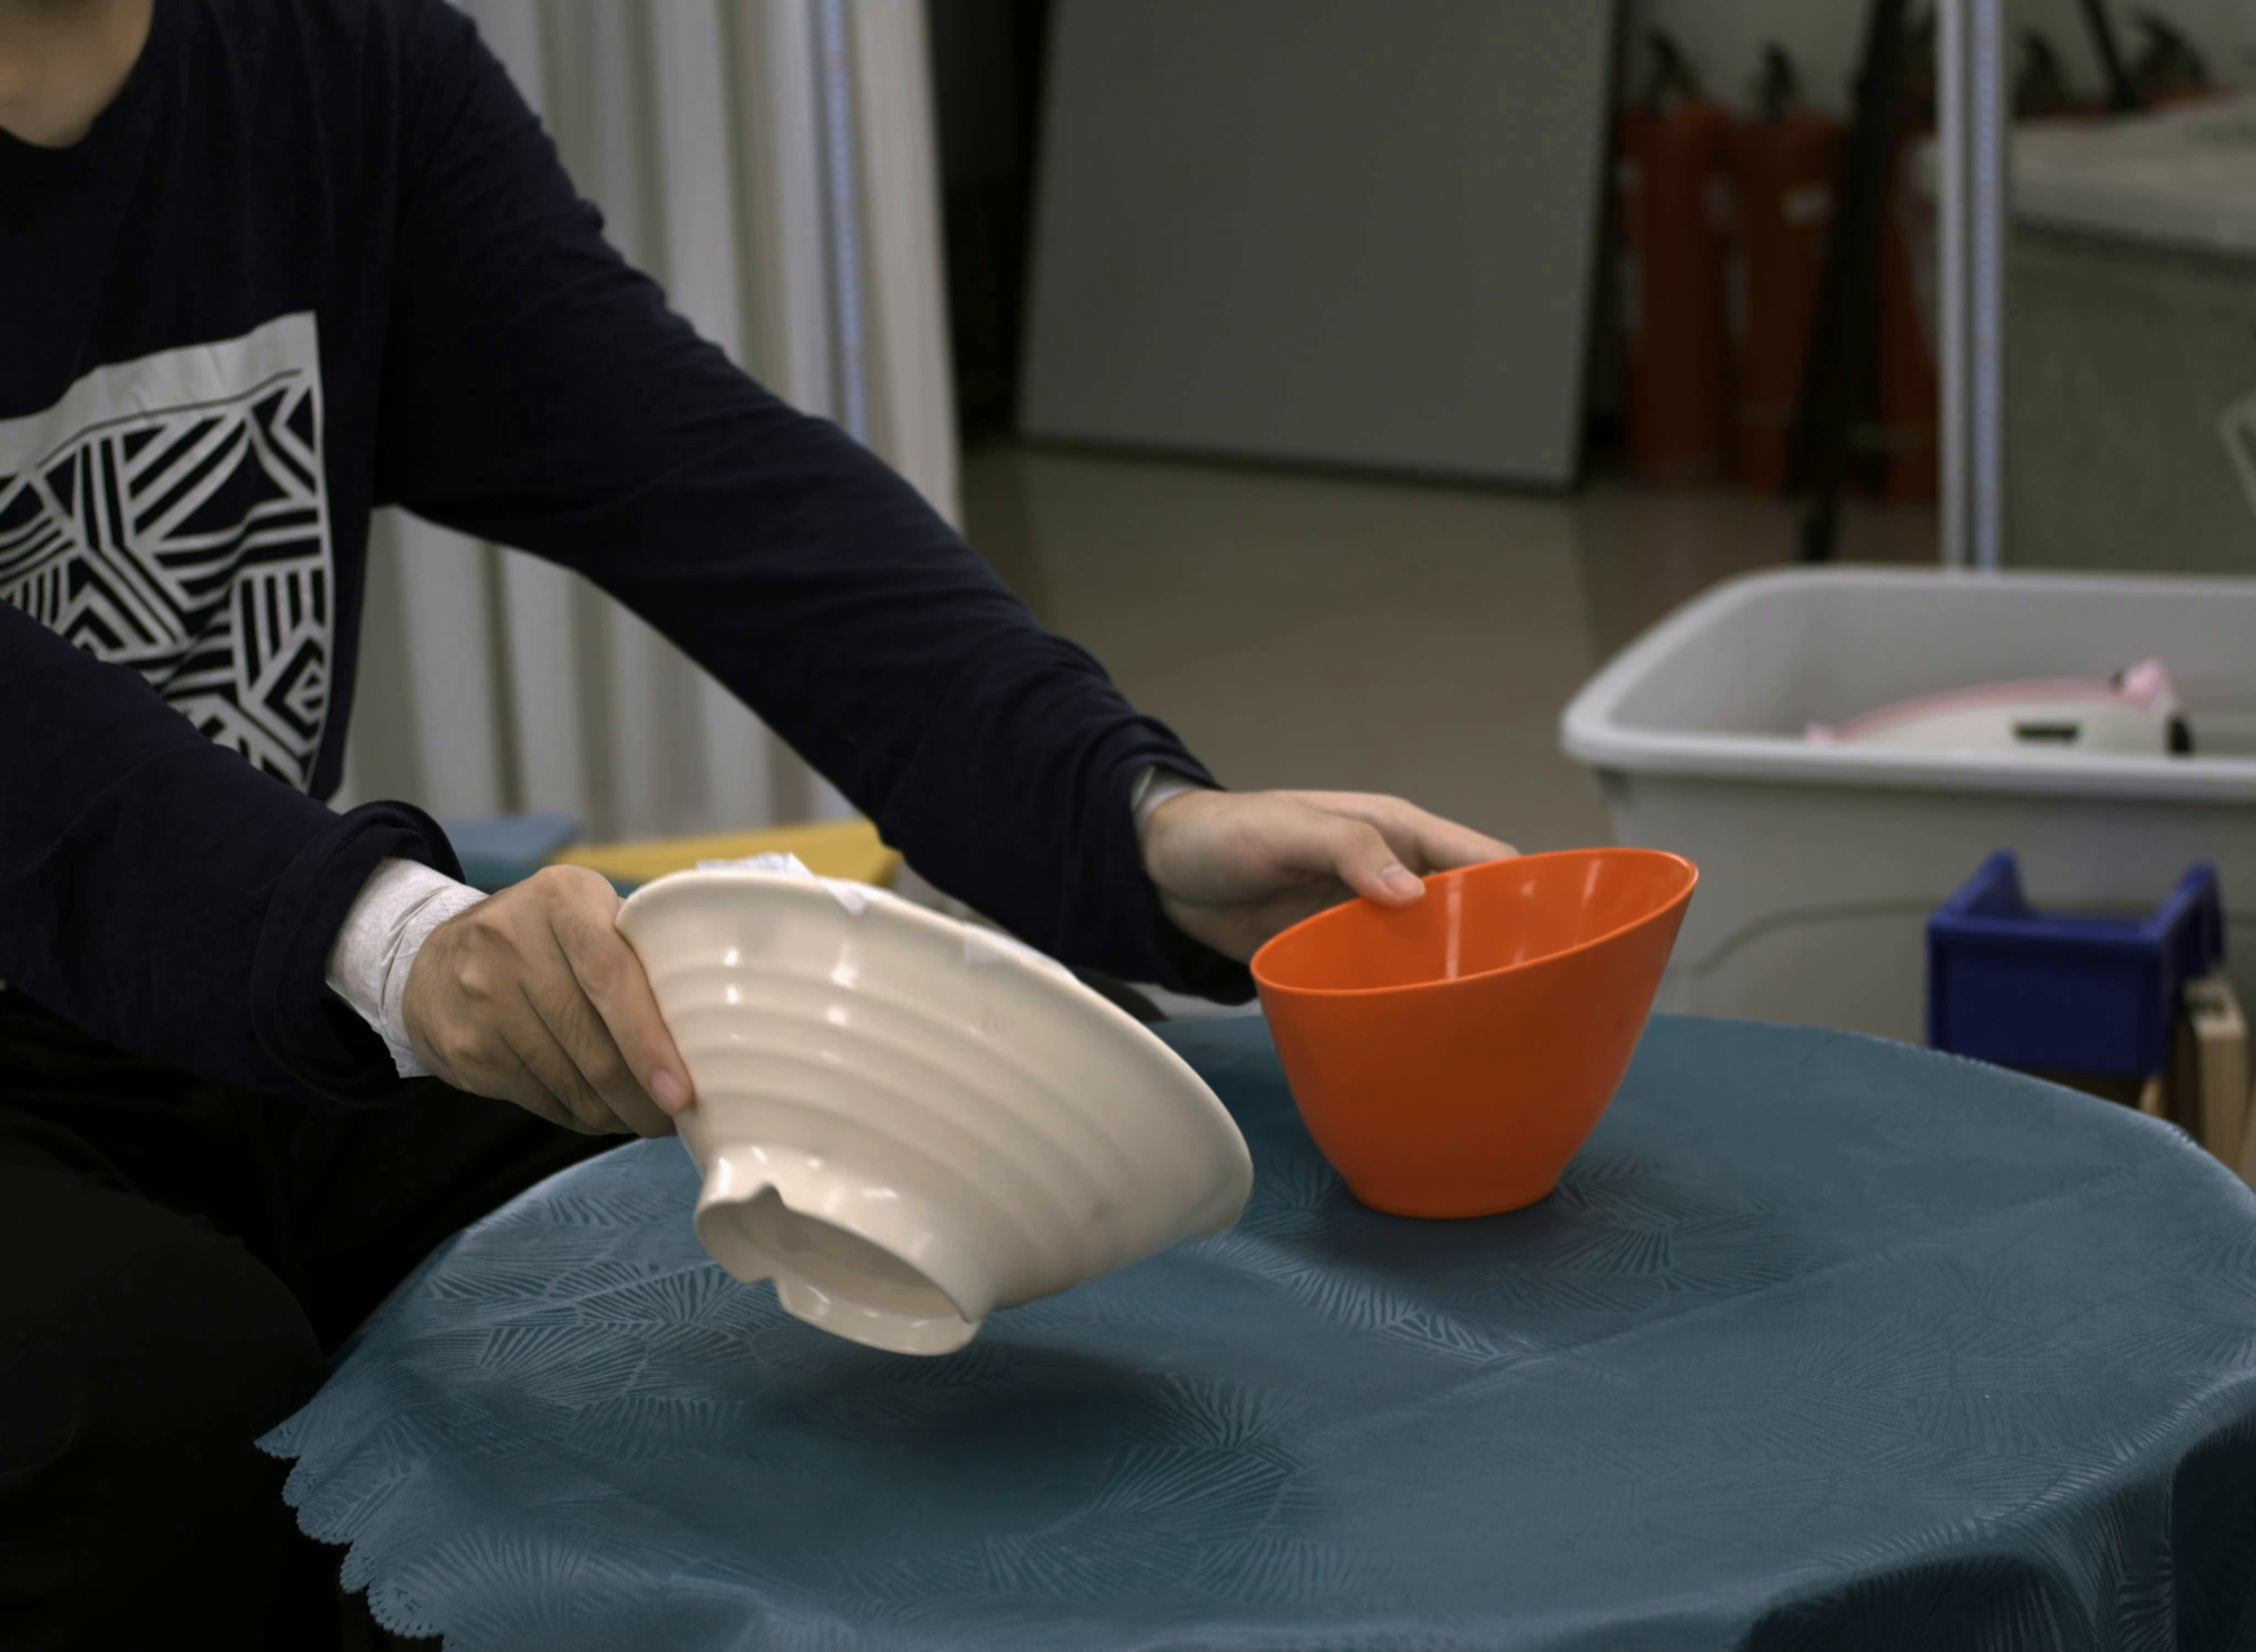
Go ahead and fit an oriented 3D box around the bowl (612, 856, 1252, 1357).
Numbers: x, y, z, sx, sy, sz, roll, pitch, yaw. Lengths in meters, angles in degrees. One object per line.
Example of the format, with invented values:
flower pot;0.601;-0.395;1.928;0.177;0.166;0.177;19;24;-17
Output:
bowl;-0.070;0.097;1.552;0.205;0.202;0.078;6;59;34

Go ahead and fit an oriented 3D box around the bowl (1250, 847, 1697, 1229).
bowl;0.114;0.070;1.738;0.146;0.106;0.148;-6;13;0
